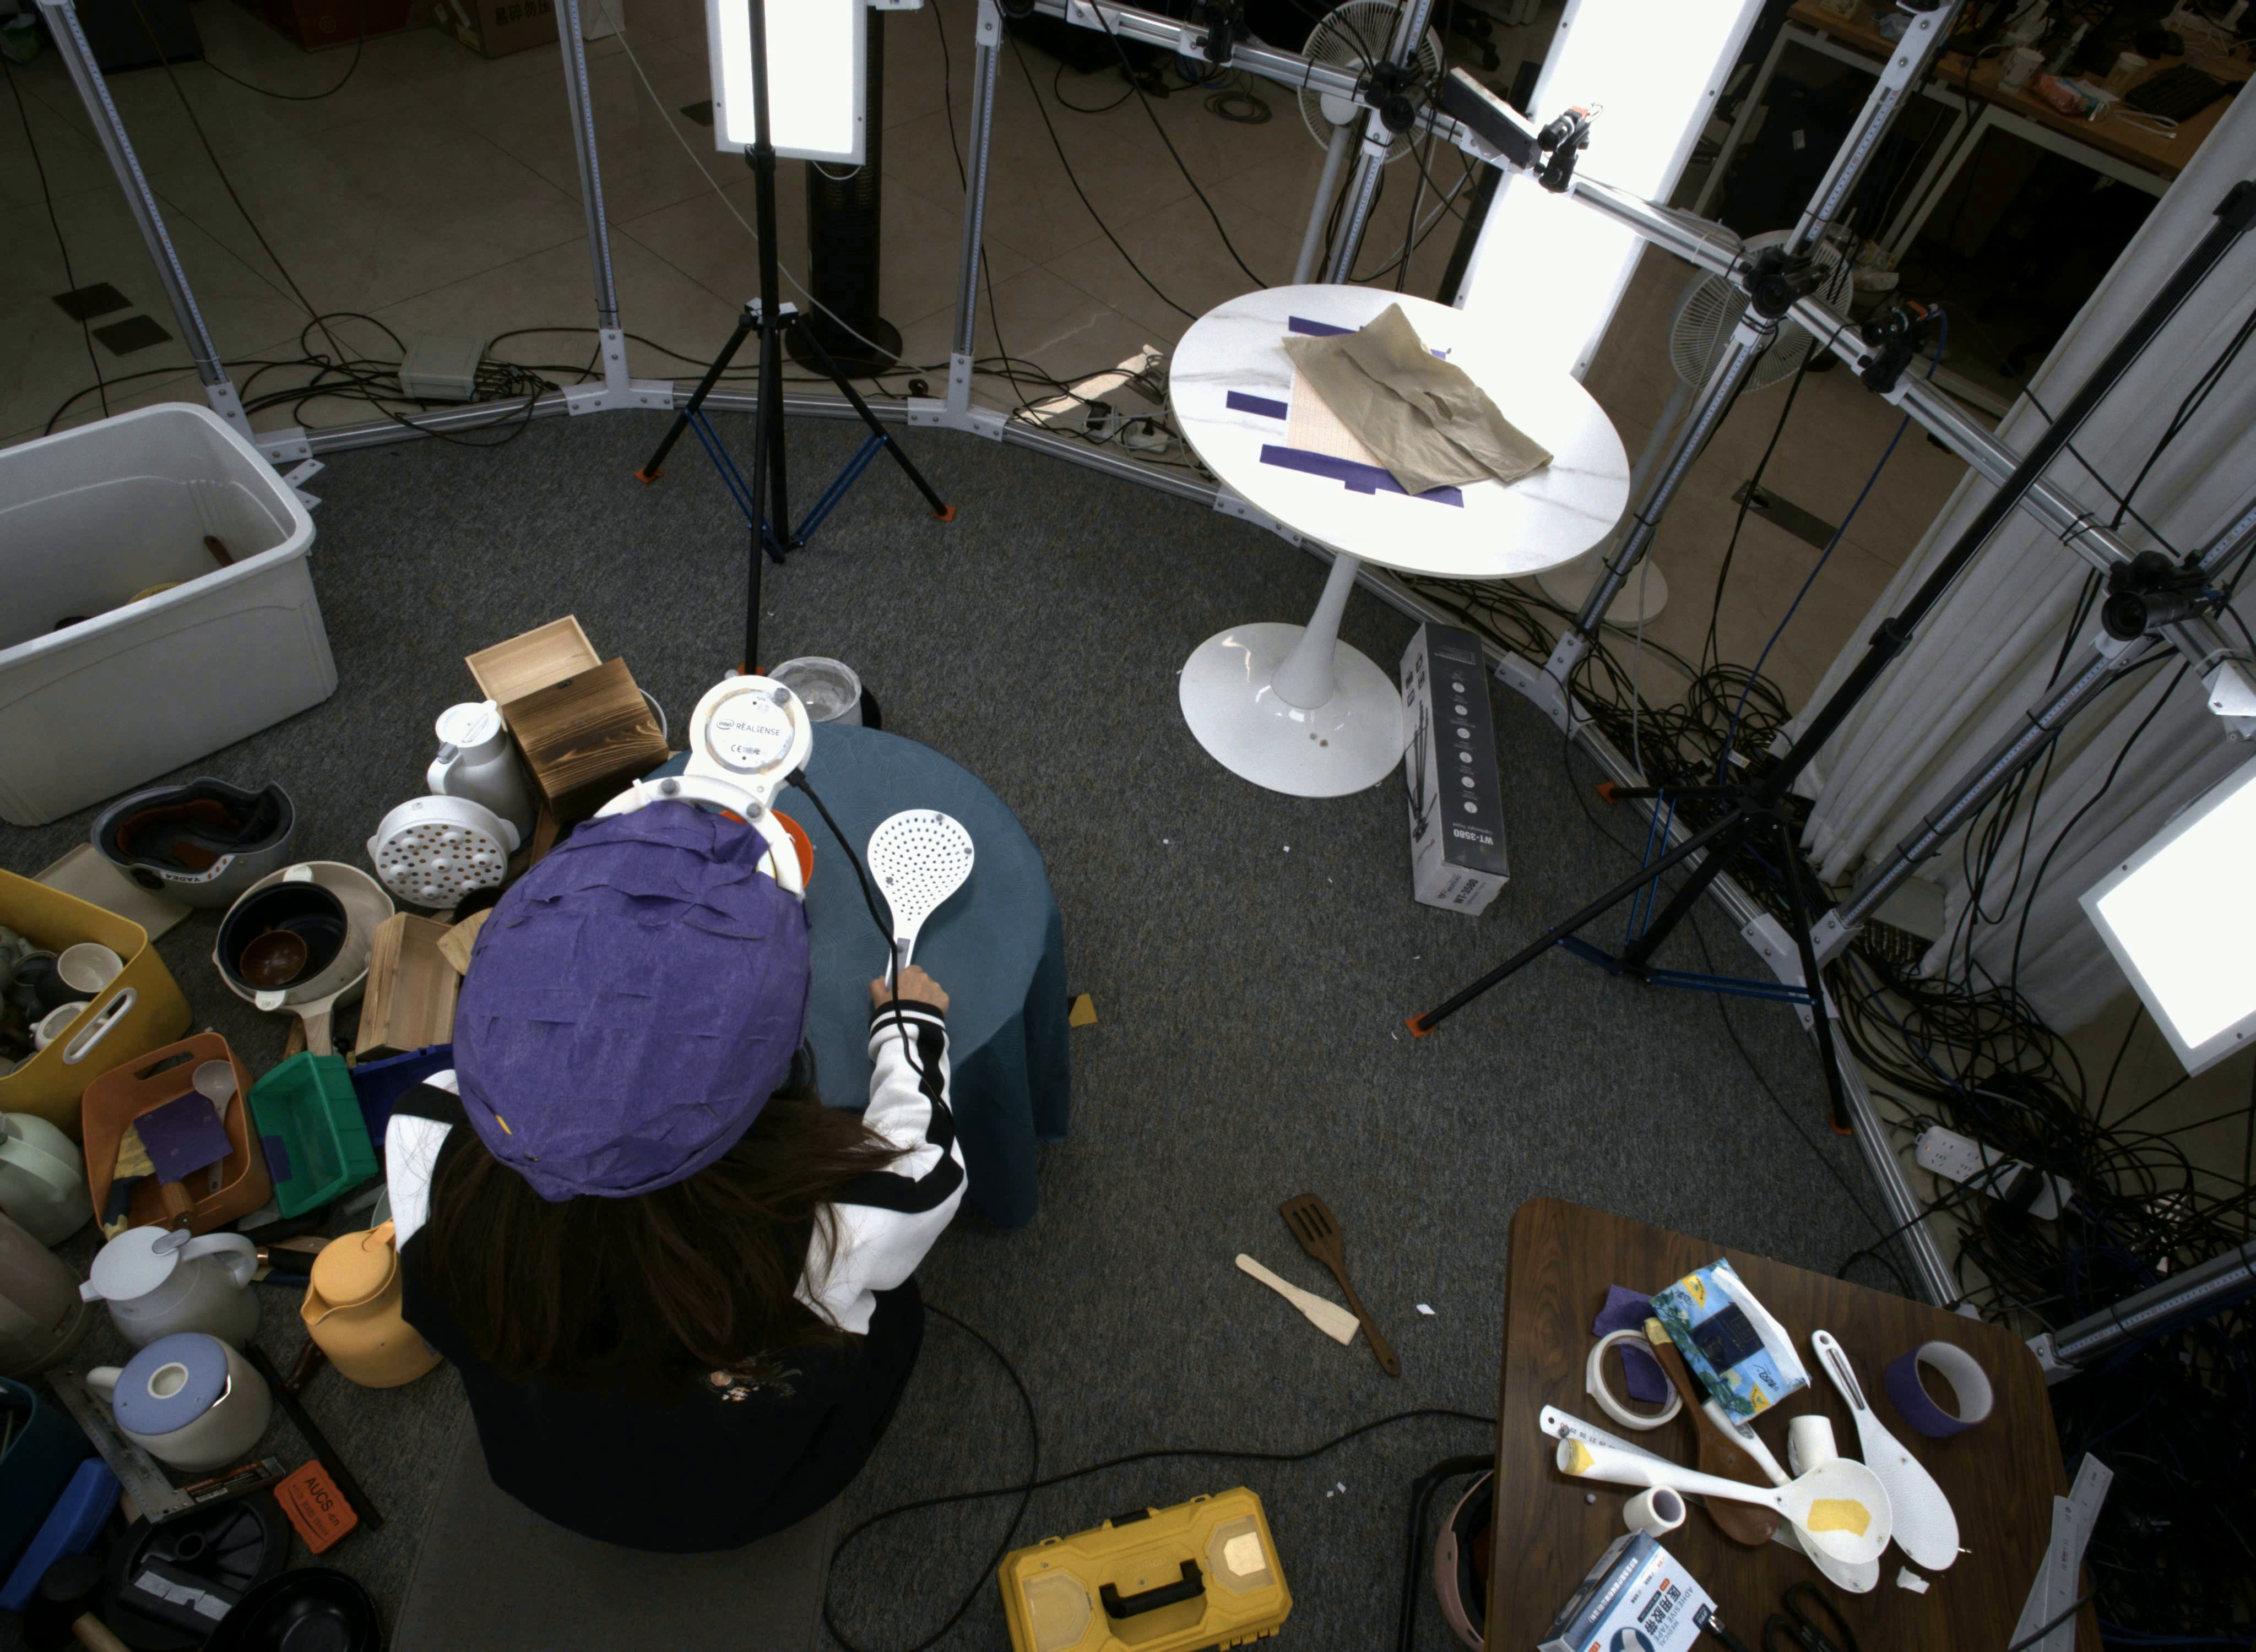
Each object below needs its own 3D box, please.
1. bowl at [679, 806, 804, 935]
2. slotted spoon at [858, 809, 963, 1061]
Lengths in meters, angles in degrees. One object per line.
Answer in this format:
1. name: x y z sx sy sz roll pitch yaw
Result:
1. bowl: -0.474 0.065 1.590 0.148 0.106 0.145 10 51 -10
2. slotted spoon: -0.289 0.128 1.629 0.135 0.047 0.344 8 53 -5
